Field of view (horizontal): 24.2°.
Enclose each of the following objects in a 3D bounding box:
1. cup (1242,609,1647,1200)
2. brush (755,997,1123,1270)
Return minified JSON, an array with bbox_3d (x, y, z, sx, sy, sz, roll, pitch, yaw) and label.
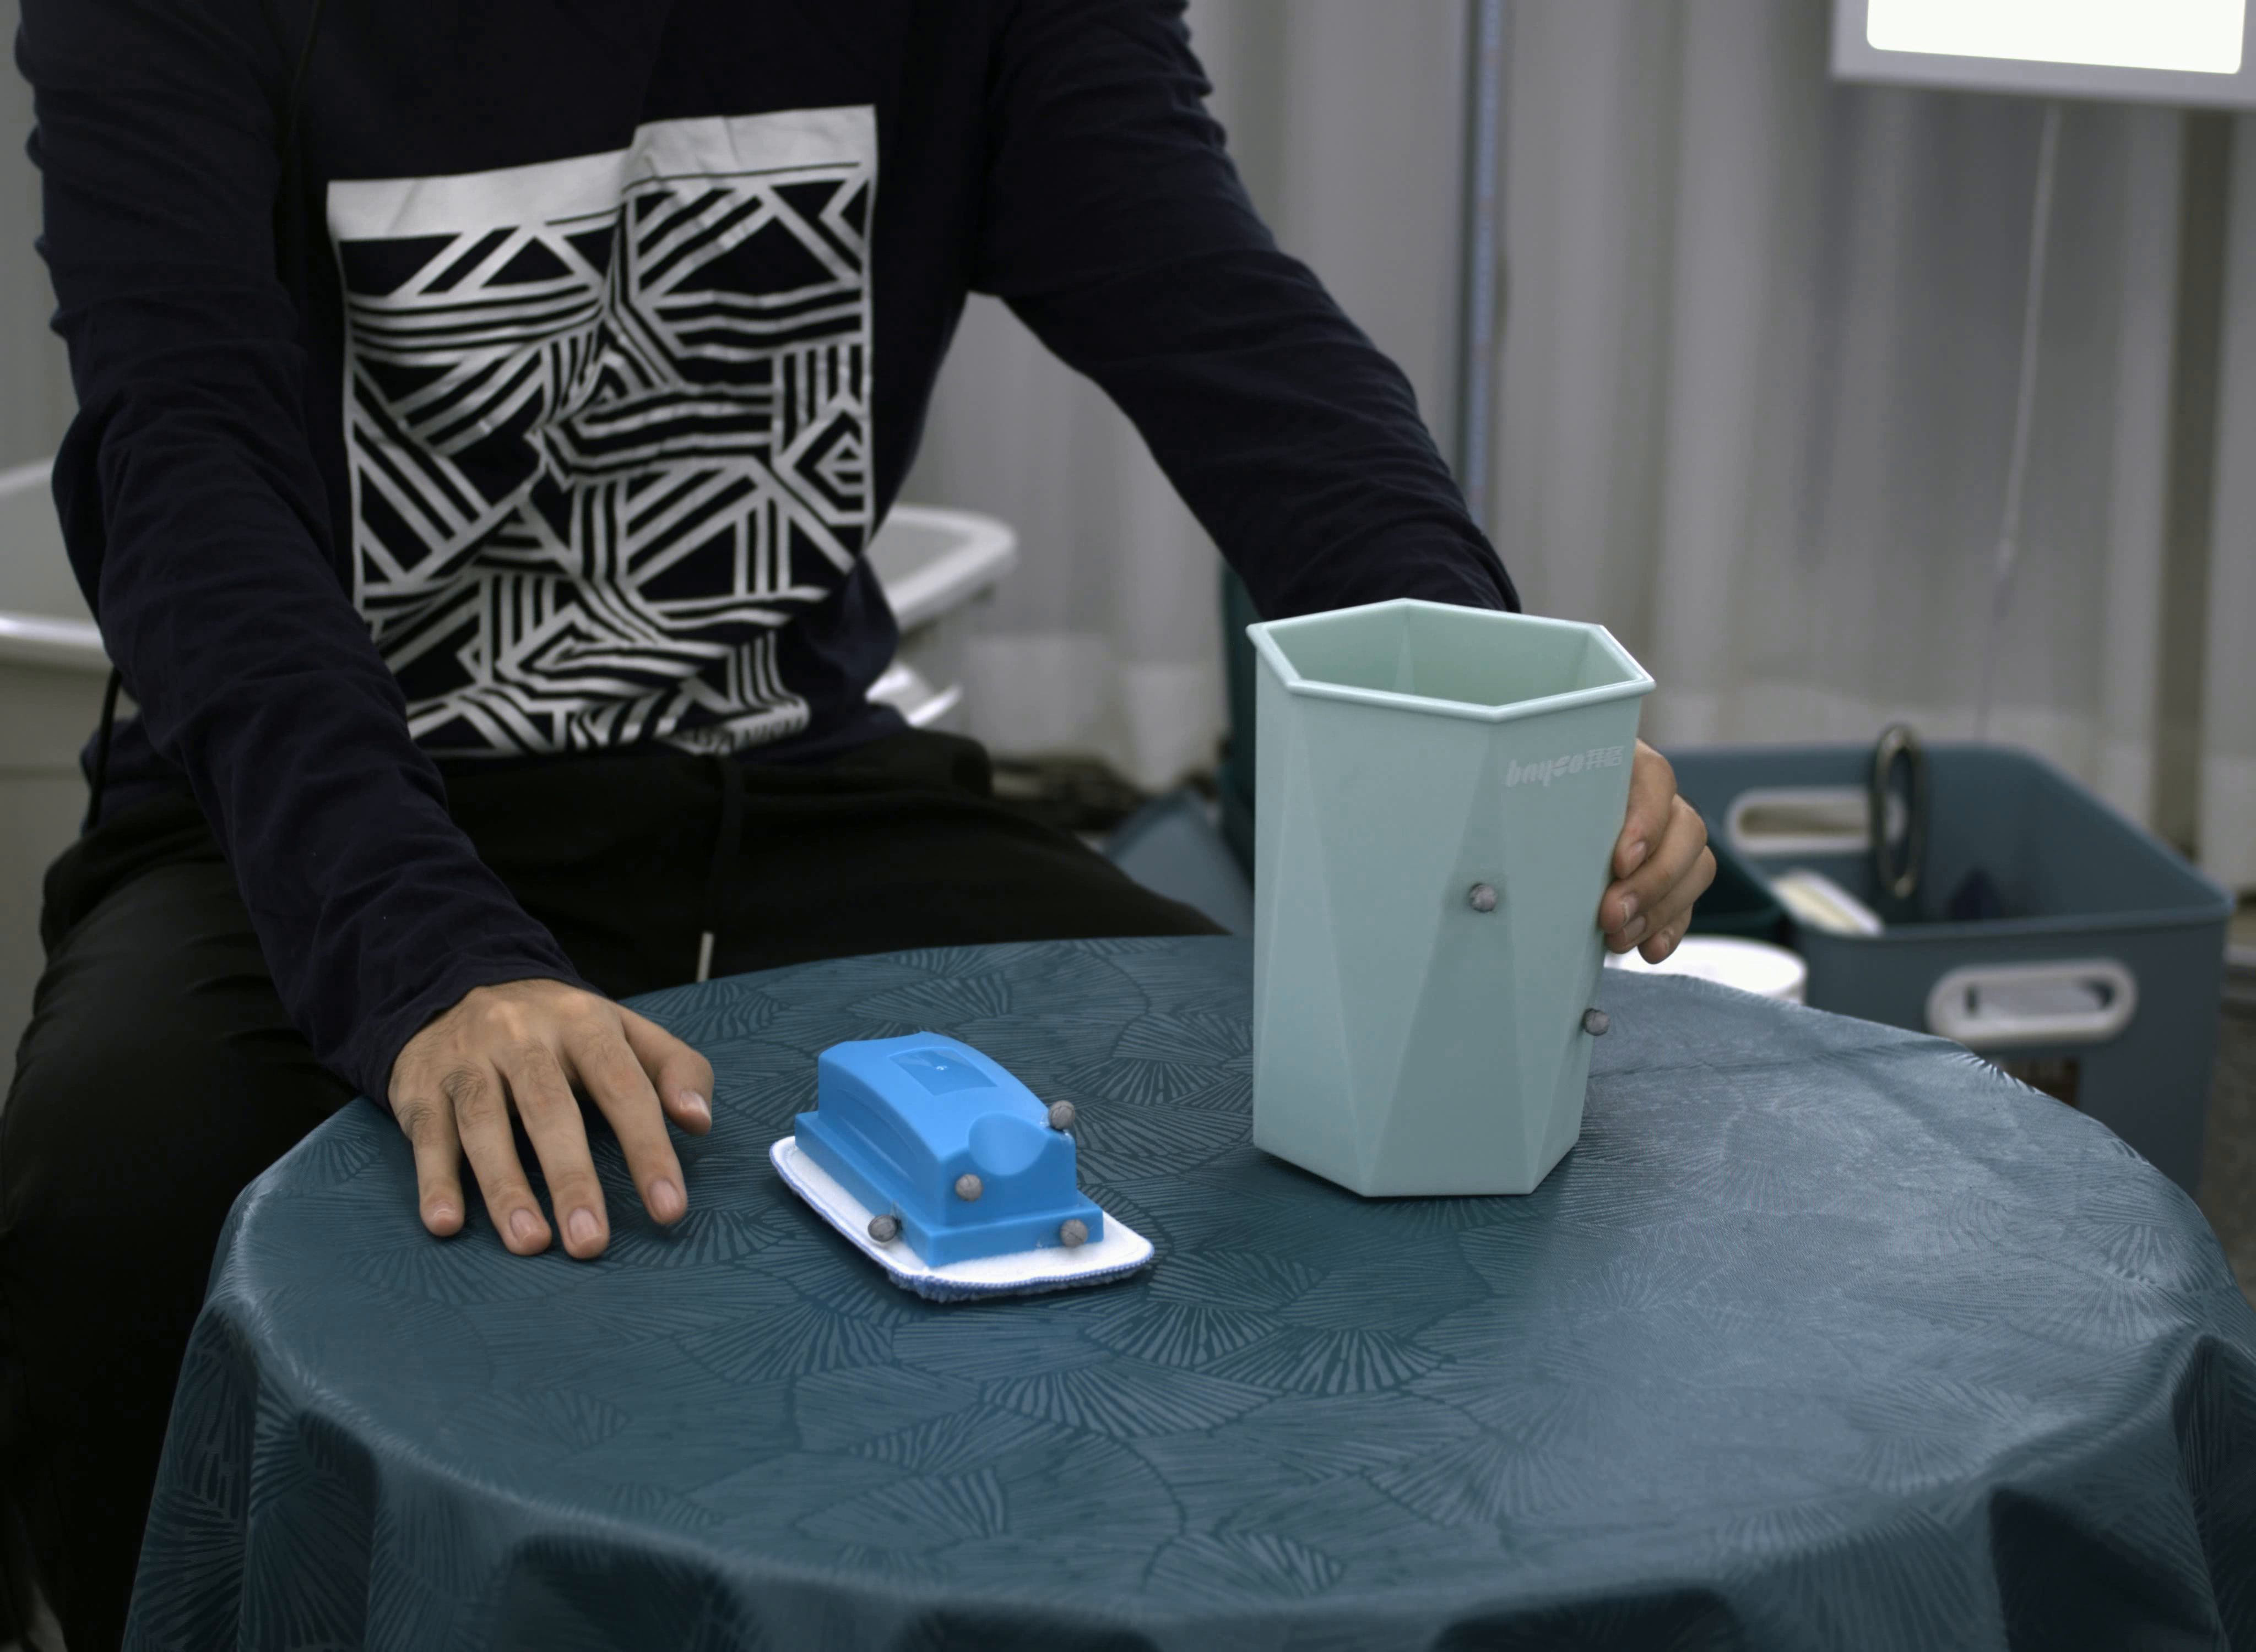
[{"bbox_3d":[0.096,0.025,1.636,0.132,0.164,0.113,-12,20,-40],"label":"cup"},{"bbox_3d":[-0.056,0.090,1.589,0.084,0.056,0.142,-2,18,-21],"label":"brush"}]
